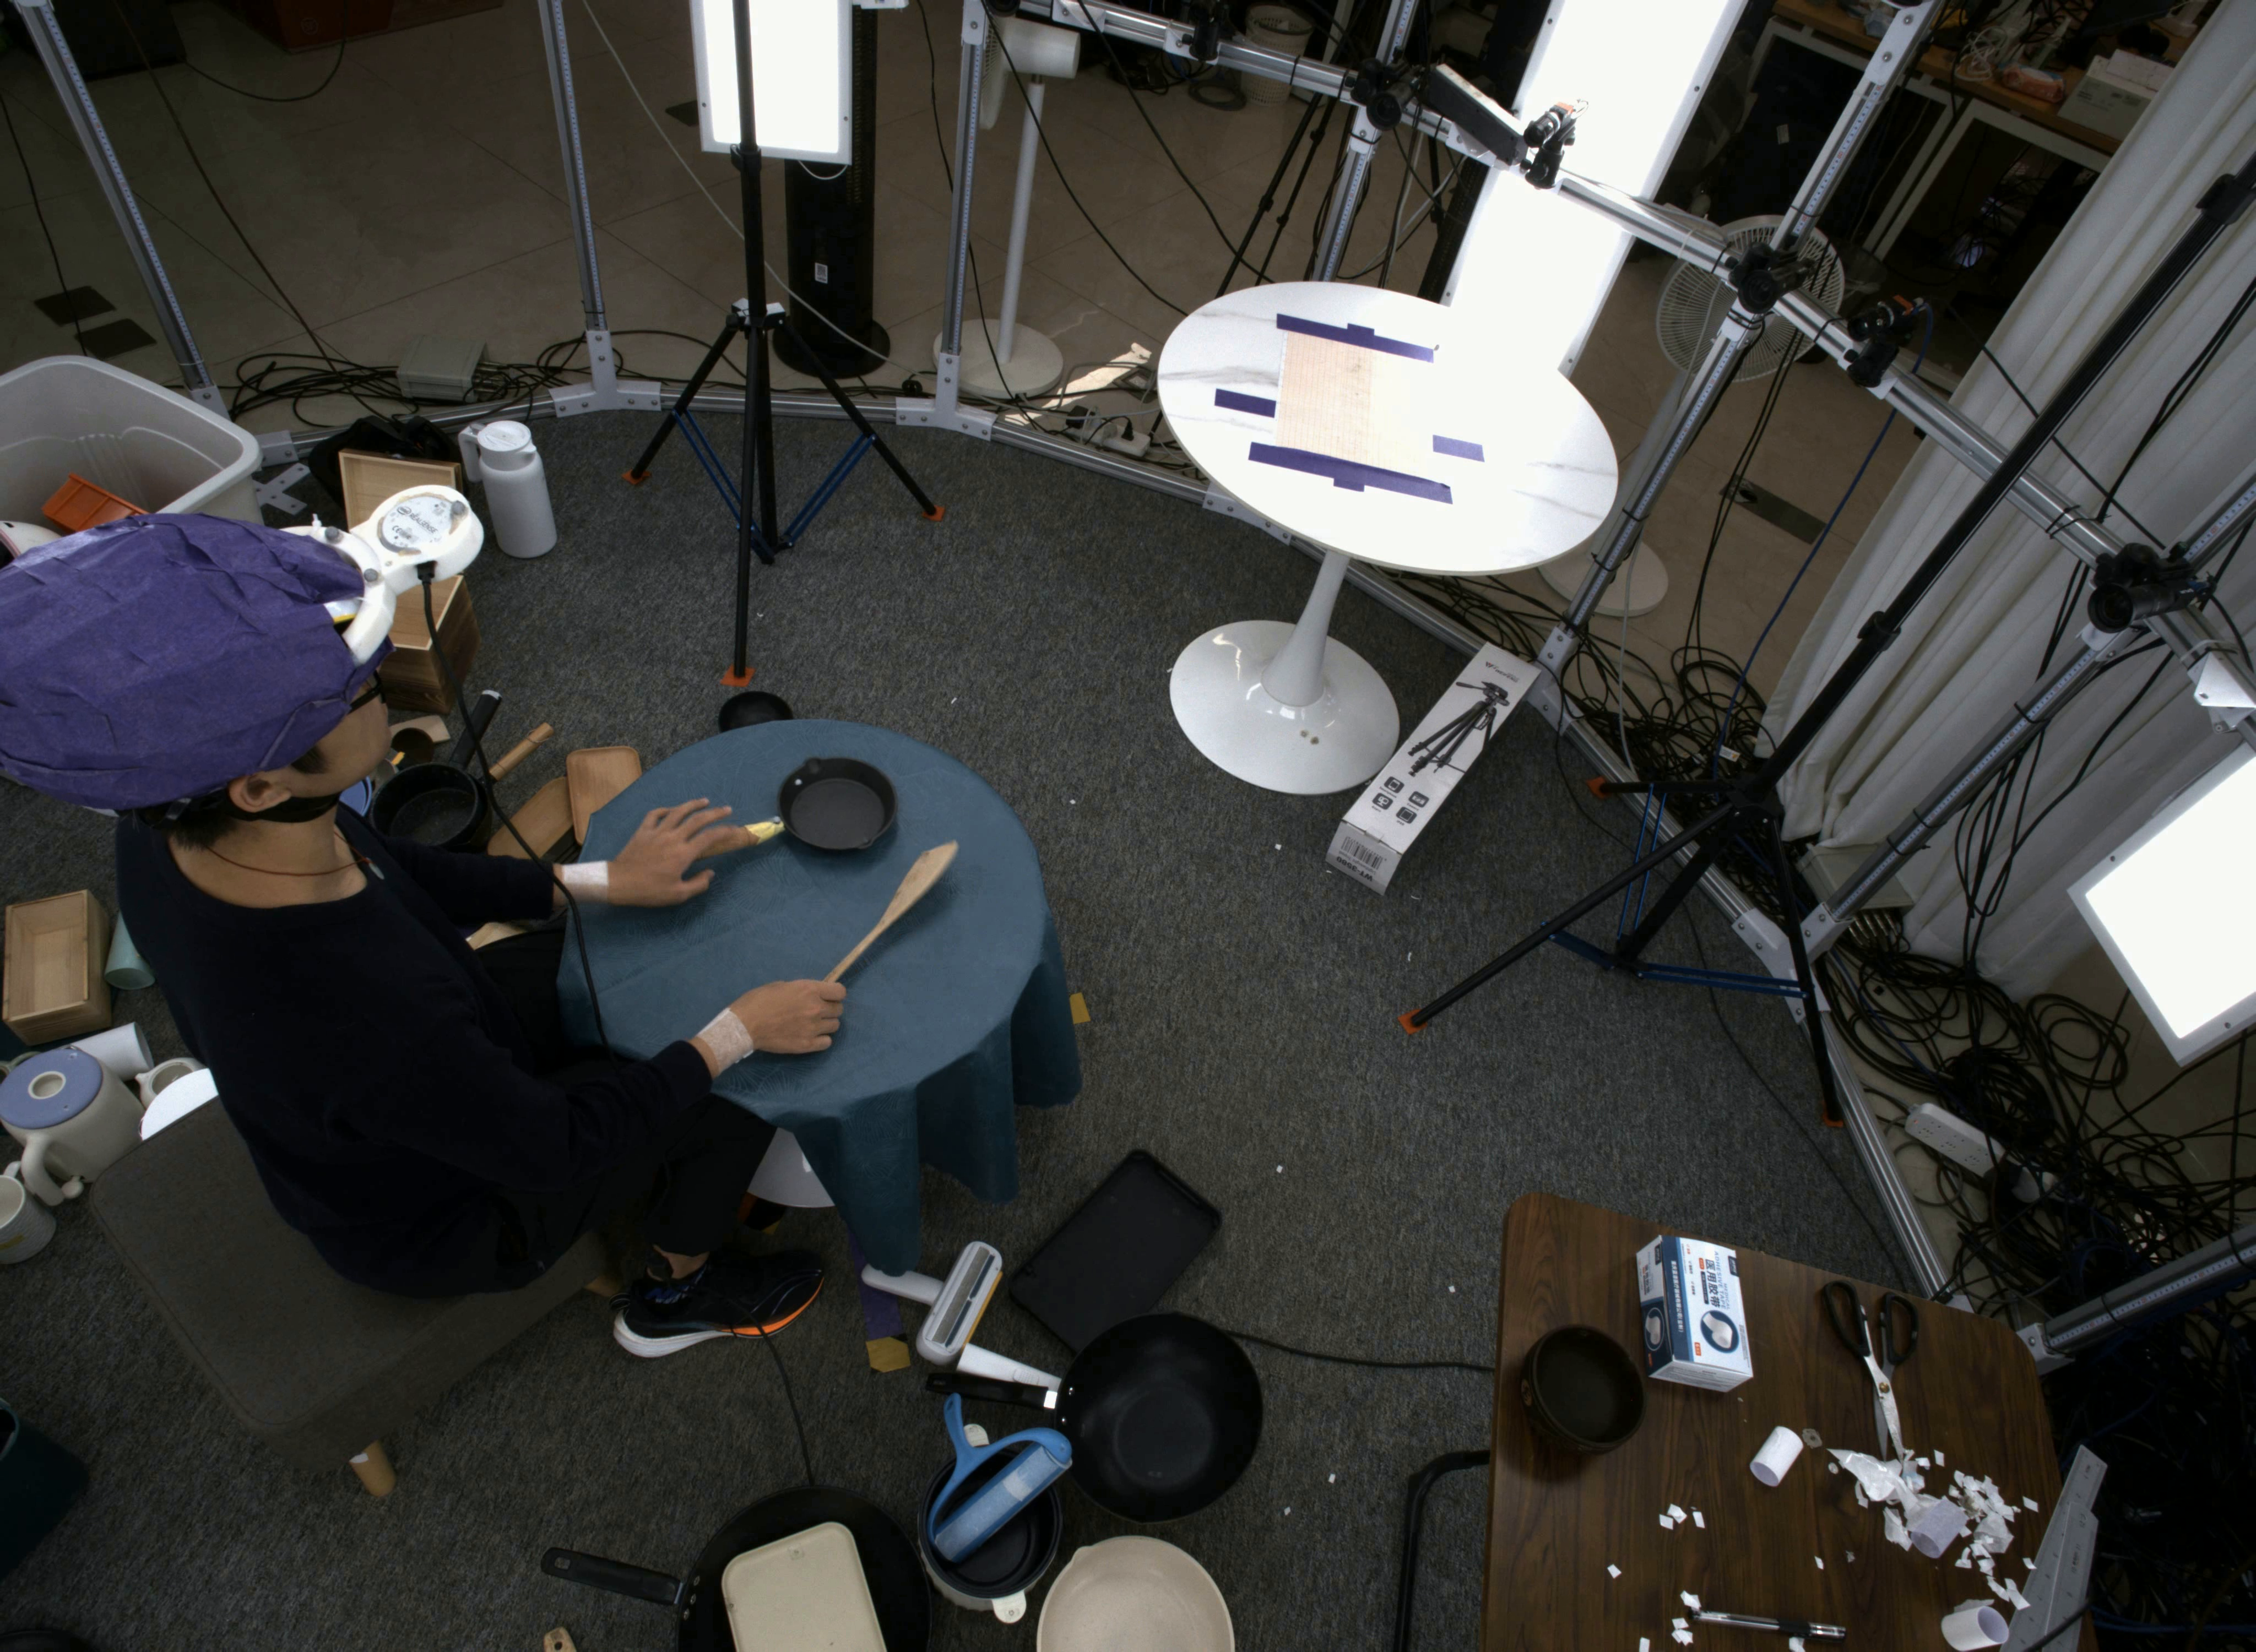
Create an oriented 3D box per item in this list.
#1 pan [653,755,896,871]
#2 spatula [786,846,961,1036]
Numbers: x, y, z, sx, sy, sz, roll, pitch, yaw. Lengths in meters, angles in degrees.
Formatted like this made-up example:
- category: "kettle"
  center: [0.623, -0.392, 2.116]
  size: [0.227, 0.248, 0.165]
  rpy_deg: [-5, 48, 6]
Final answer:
- category: "pan"
  center: [-0.456, -0.002, 1.674]
  size: [0.326, 0.050, 0.165]
  rpy_deg: [-21, 61, -29]
- category: "spatula"
  center: [-0.320, 0.135, 1.614]
  size: [0.077, 0.017, 0.326]
  rpy_deg: [1, 41, 39]
